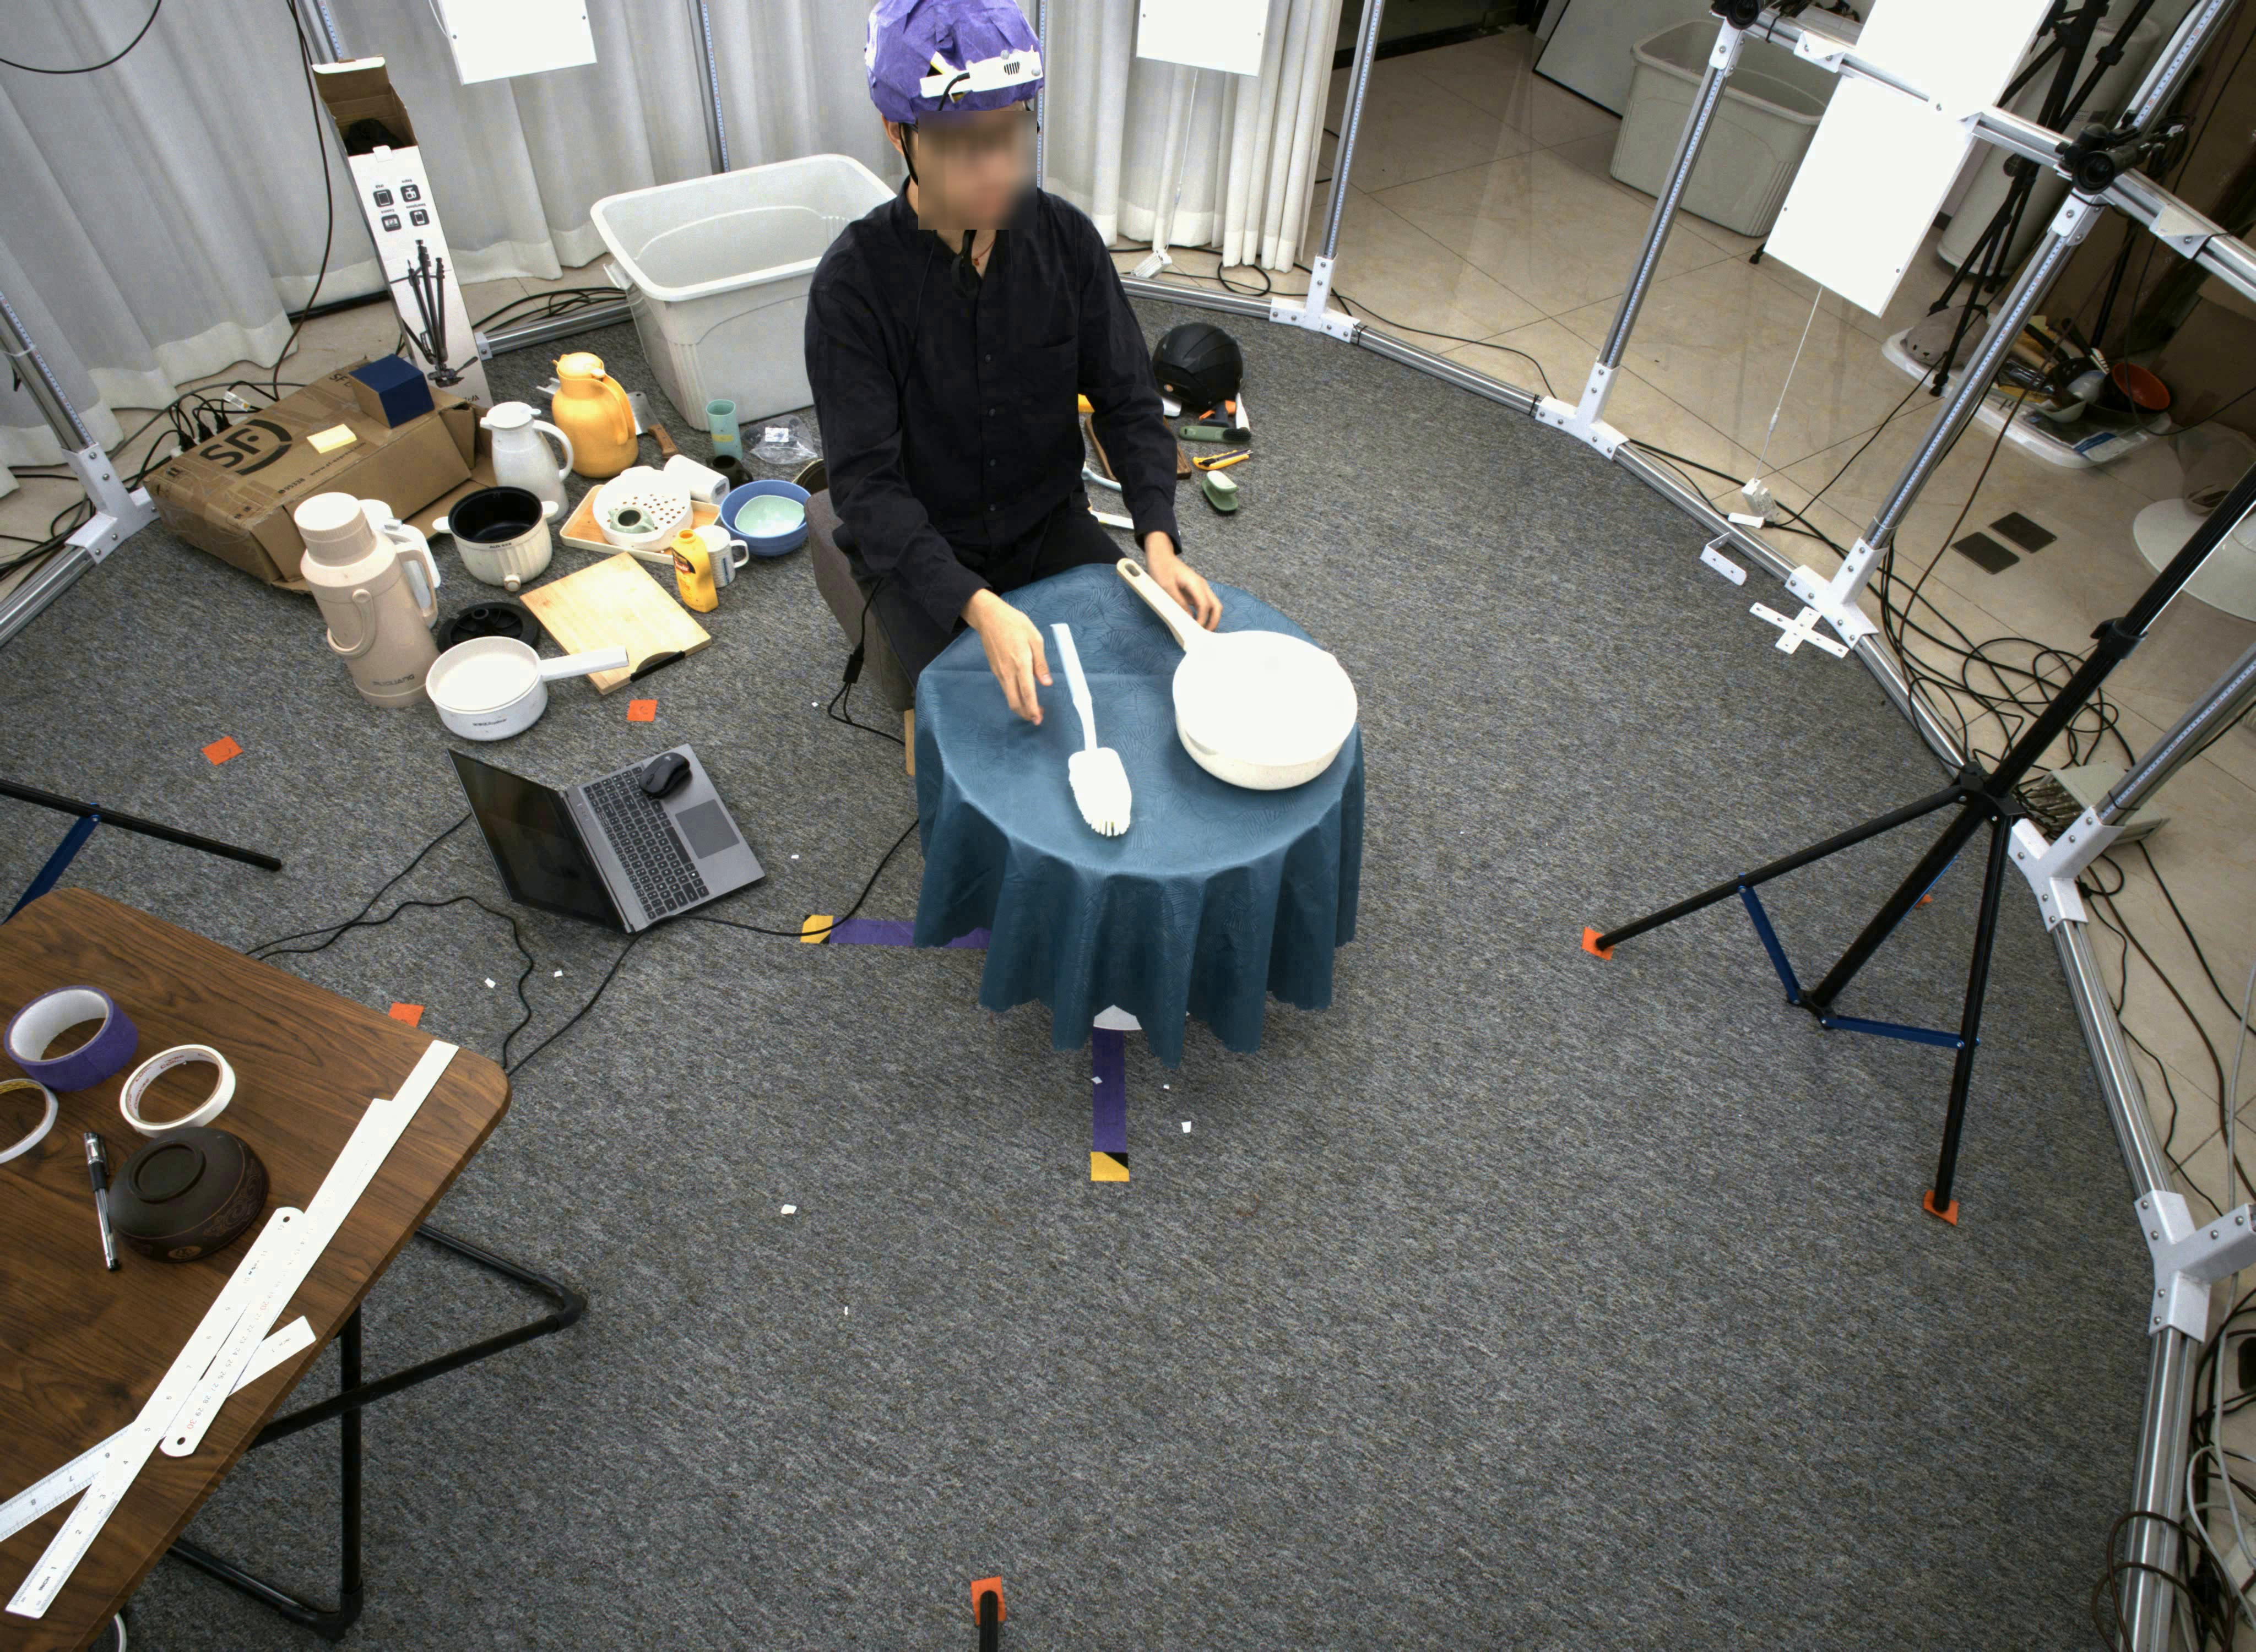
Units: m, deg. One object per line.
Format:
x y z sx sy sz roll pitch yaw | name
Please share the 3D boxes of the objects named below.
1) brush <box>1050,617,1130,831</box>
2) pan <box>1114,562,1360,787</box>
-0.056 -0.135 1.728 0.082 0.083 0.332 13 51 -45 | brush
0.127 -0.218 1.804 0.265 0.099 0.442 -32 59 -27 | pan
